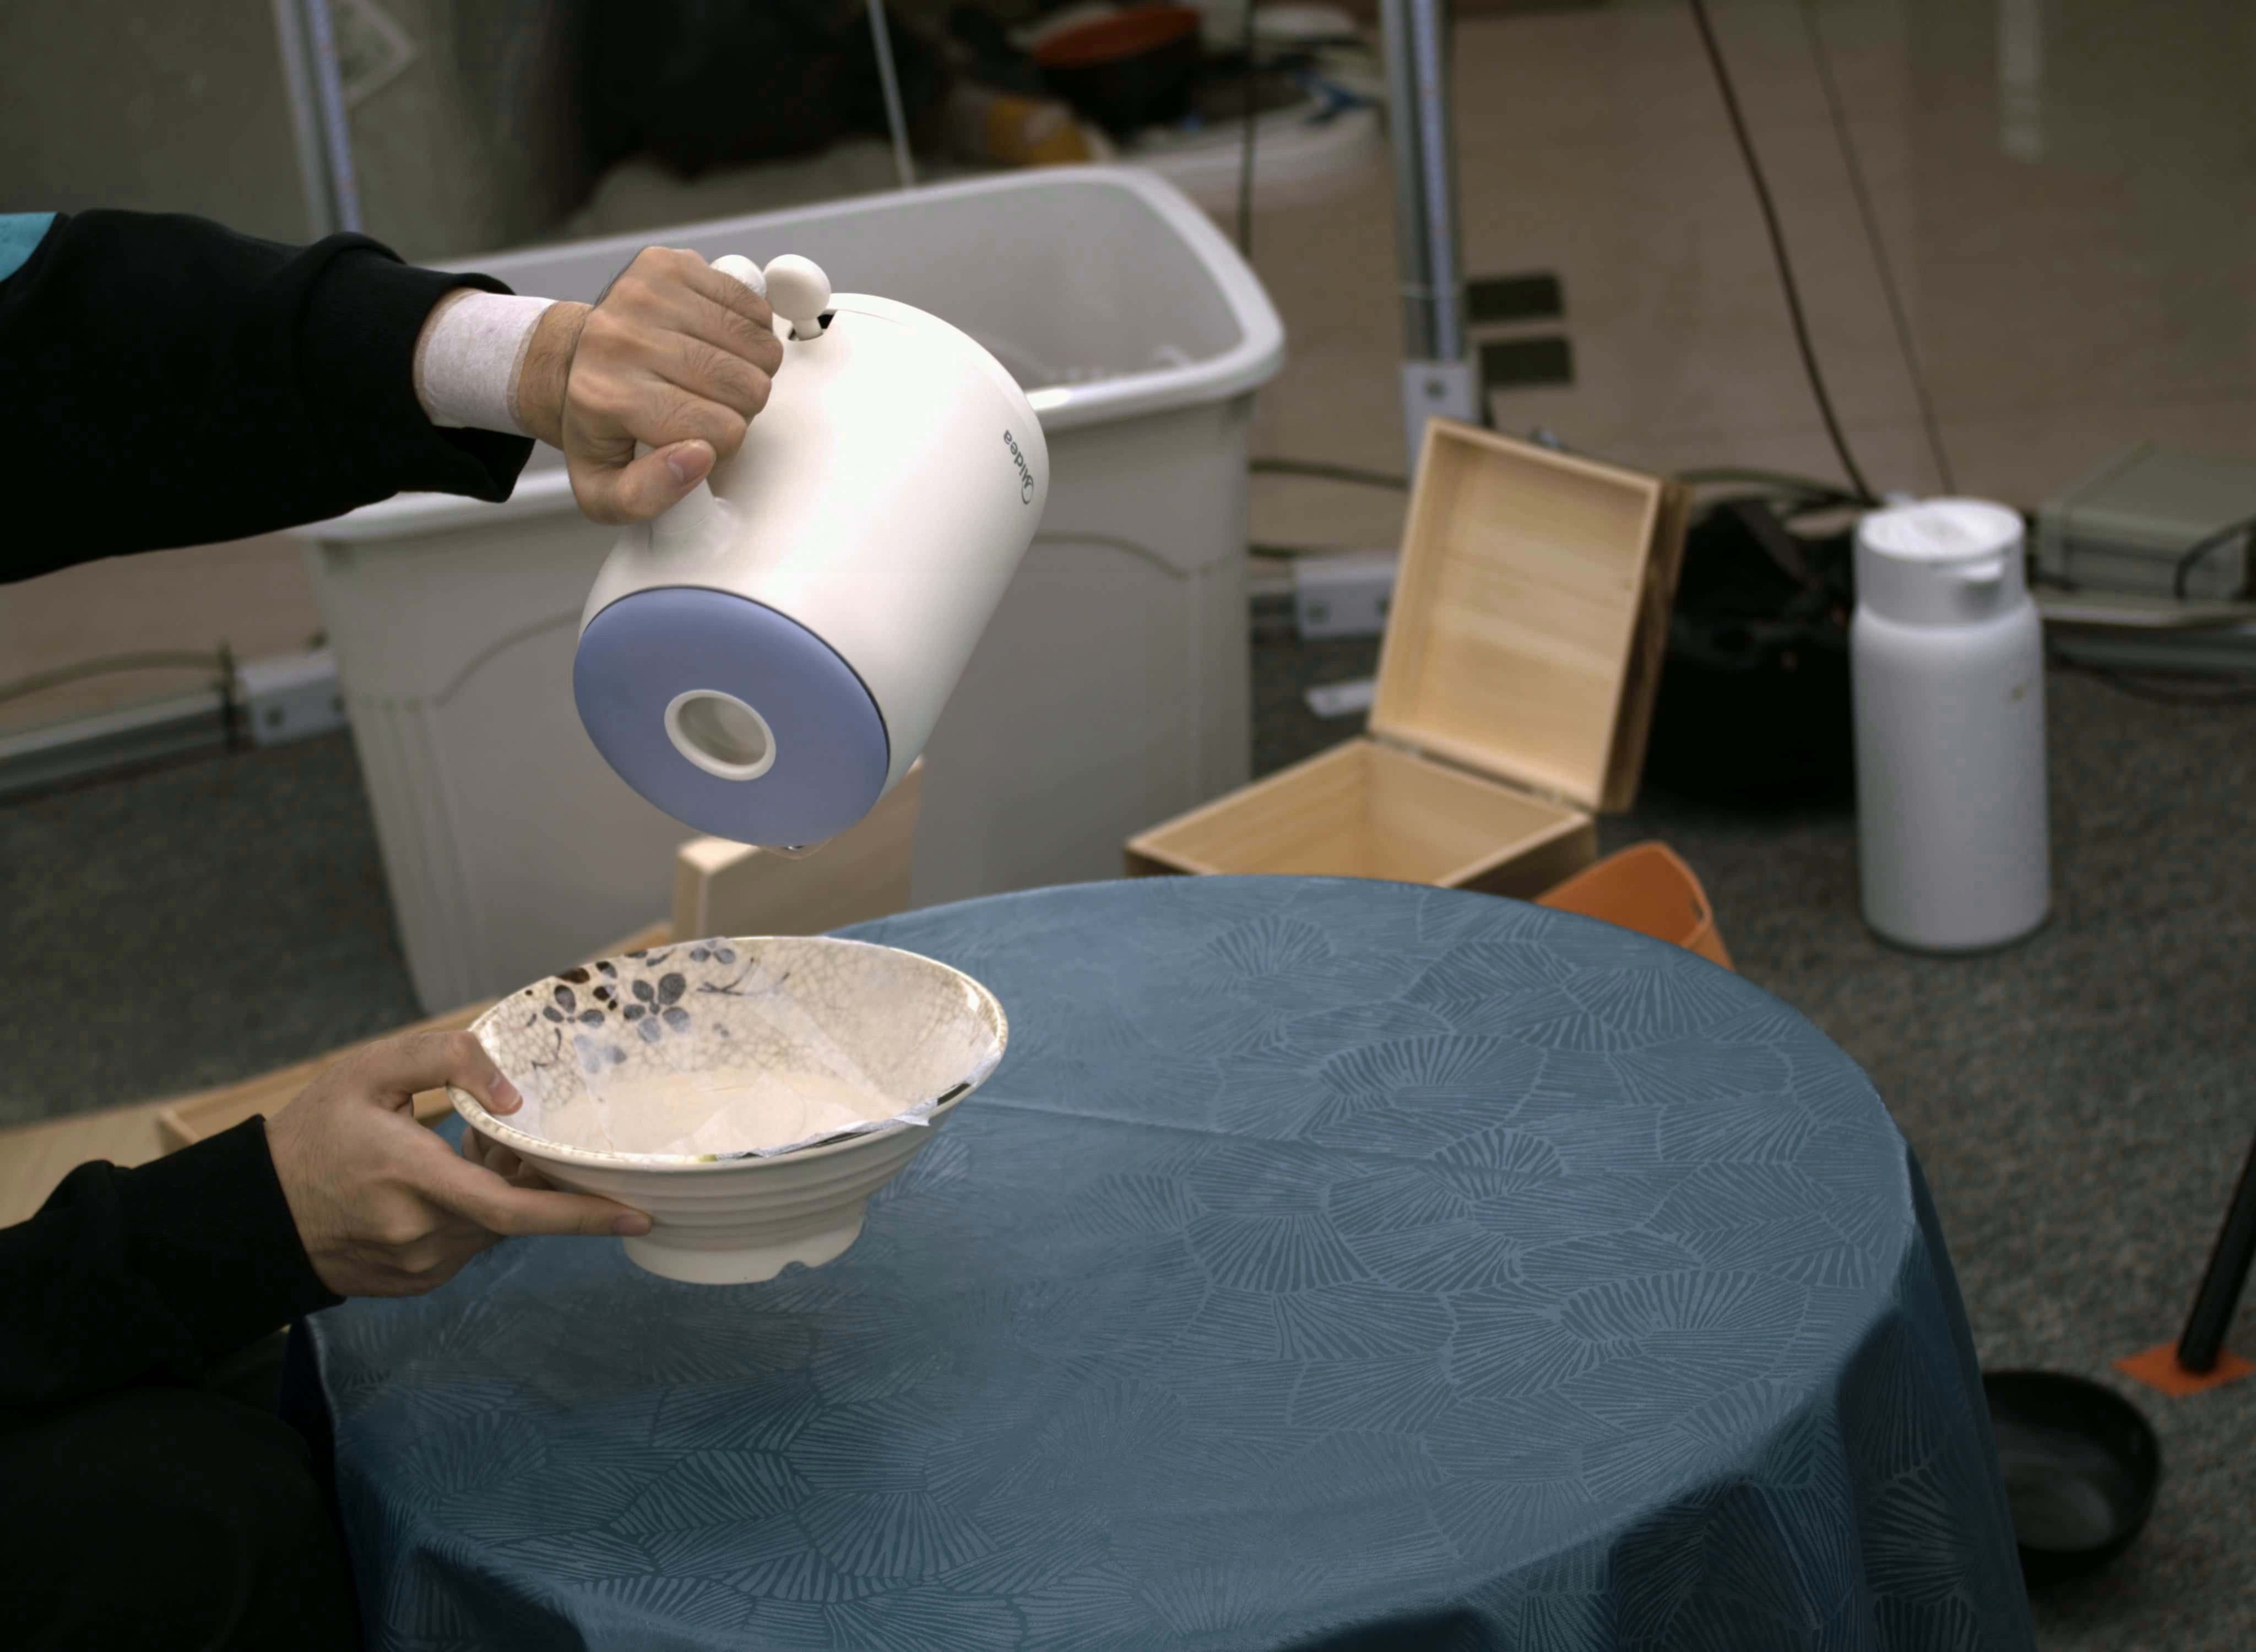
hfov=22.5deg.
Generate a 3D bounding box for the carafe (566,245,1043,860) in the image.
[{"bbox_3d":[-0.124,-0.111,2.021,0.132,0.194,0.179,-3,39,26],"label":"carafe"}]

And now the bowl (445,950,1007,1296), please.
[{"bbox_3d":[-0.139,0.116,2.042,0.204,0.079,0.201,-7,20,3],"label":"bowl"}]
